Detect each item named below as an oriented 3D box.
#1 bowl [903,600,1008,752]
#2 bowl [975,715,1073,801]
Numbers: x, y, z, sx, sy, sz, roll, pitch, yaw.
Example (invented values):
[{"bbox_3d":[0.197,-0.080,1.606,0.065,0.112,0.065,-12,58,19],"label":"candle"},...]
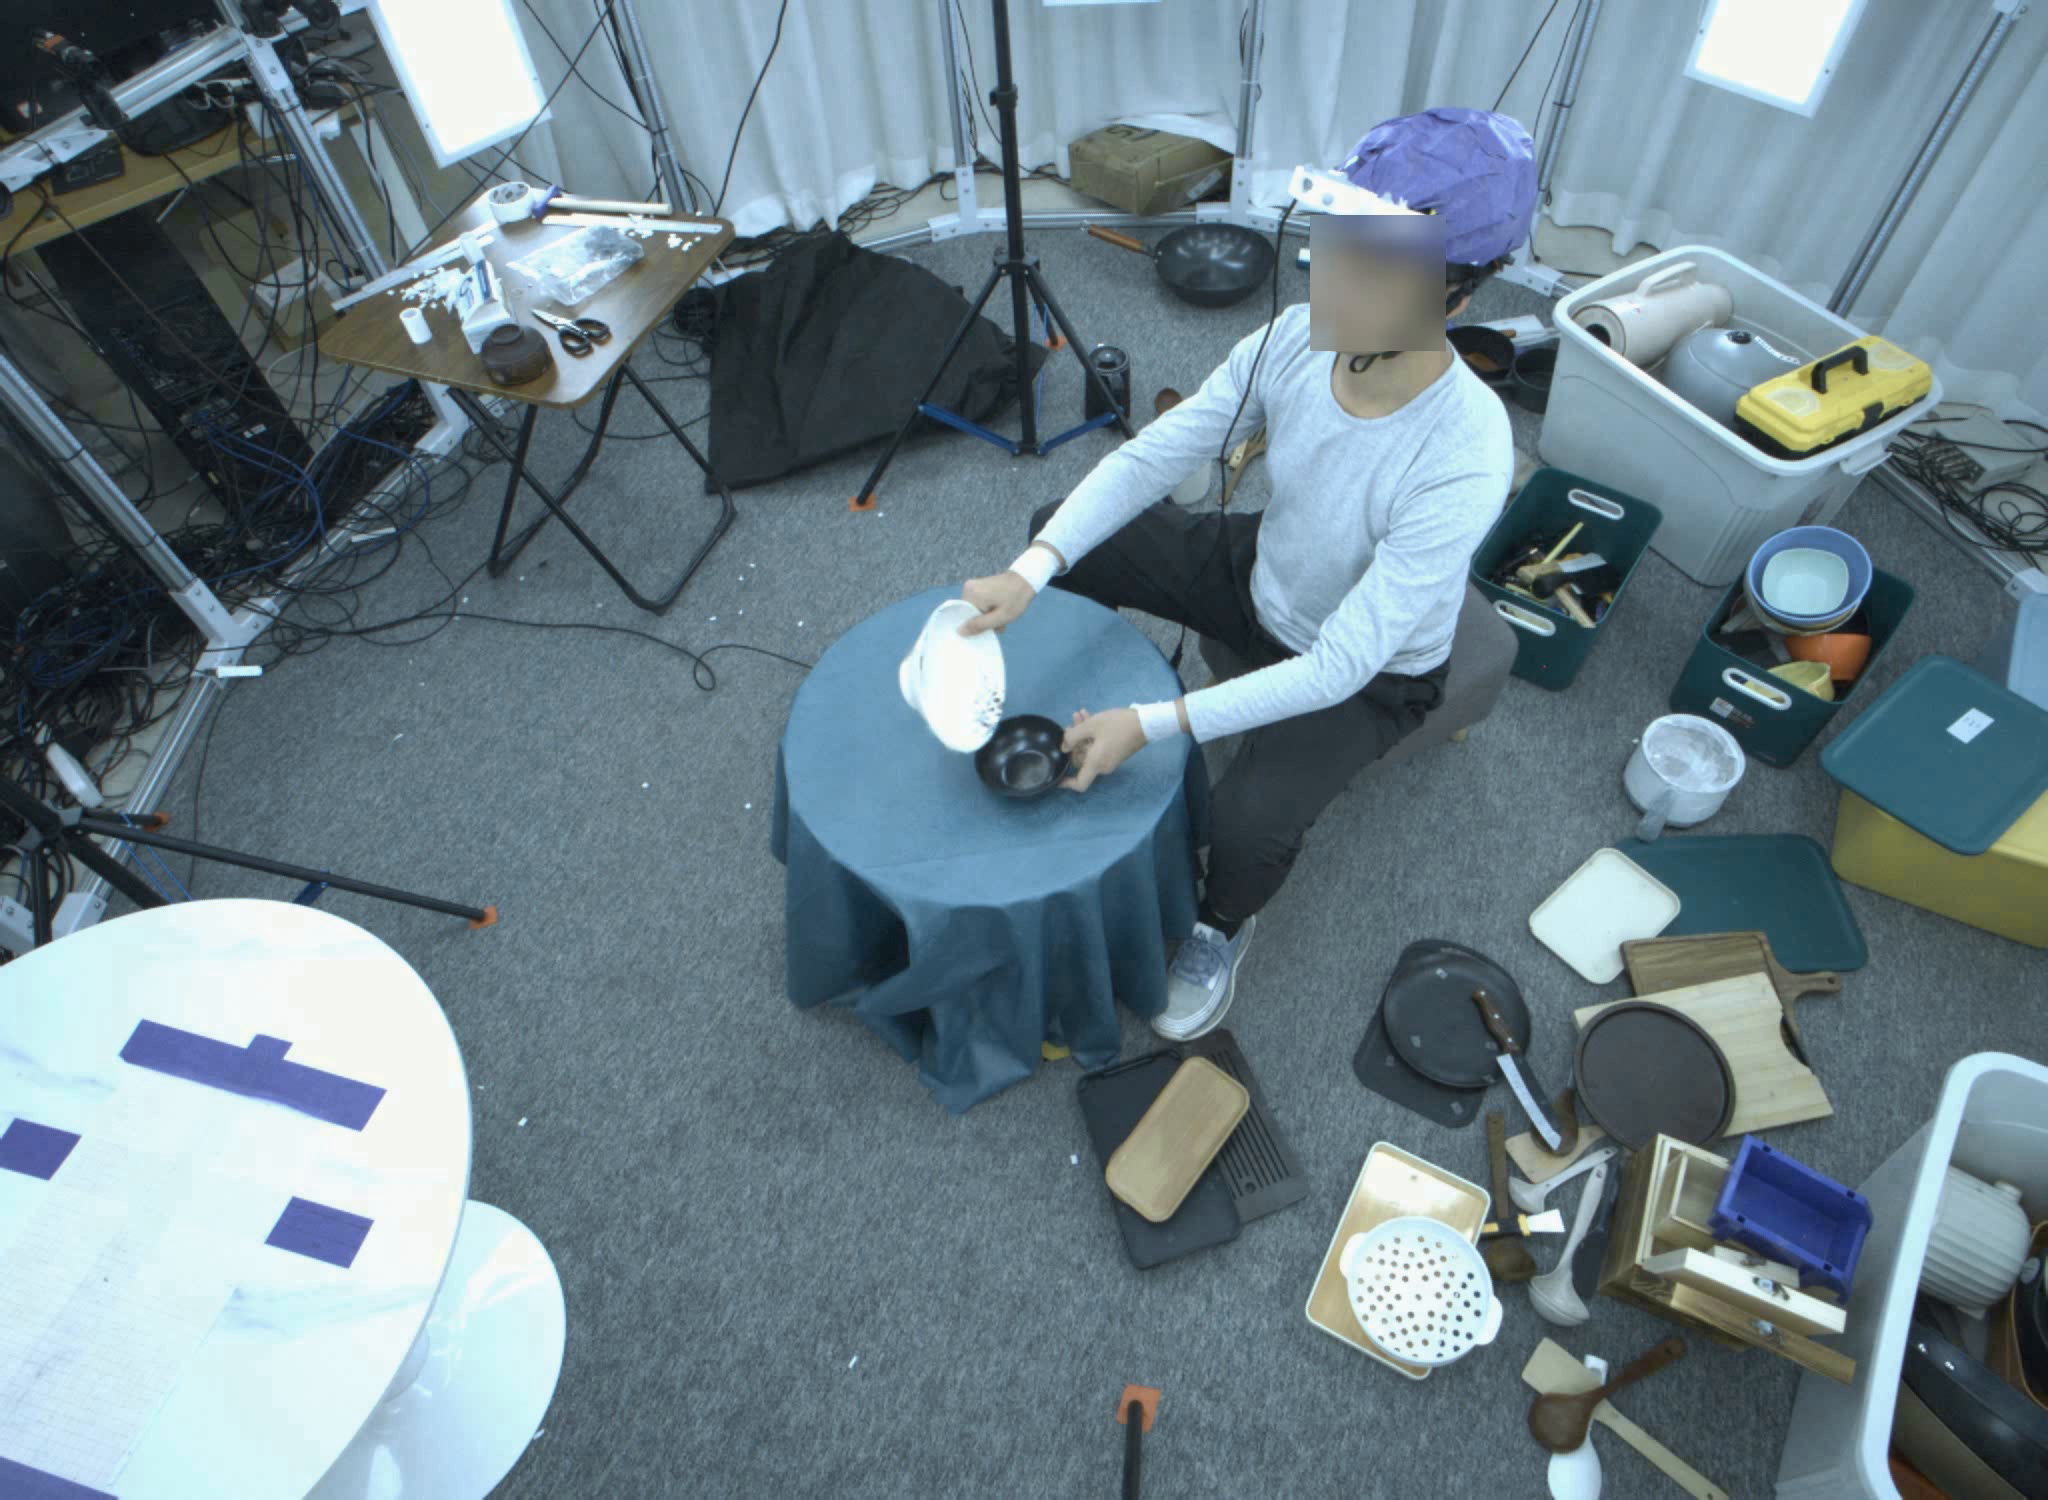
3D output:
[{"bbox_3d":[-0.107,-0.098,1.661,0.076,0.208,0.203,-1,51,30],"label":"bowl"},{"bbox_3d":[0.002,0.020,1.751,0.140,0.050,0.138,-1,56,3],"label":"bowl"}]
